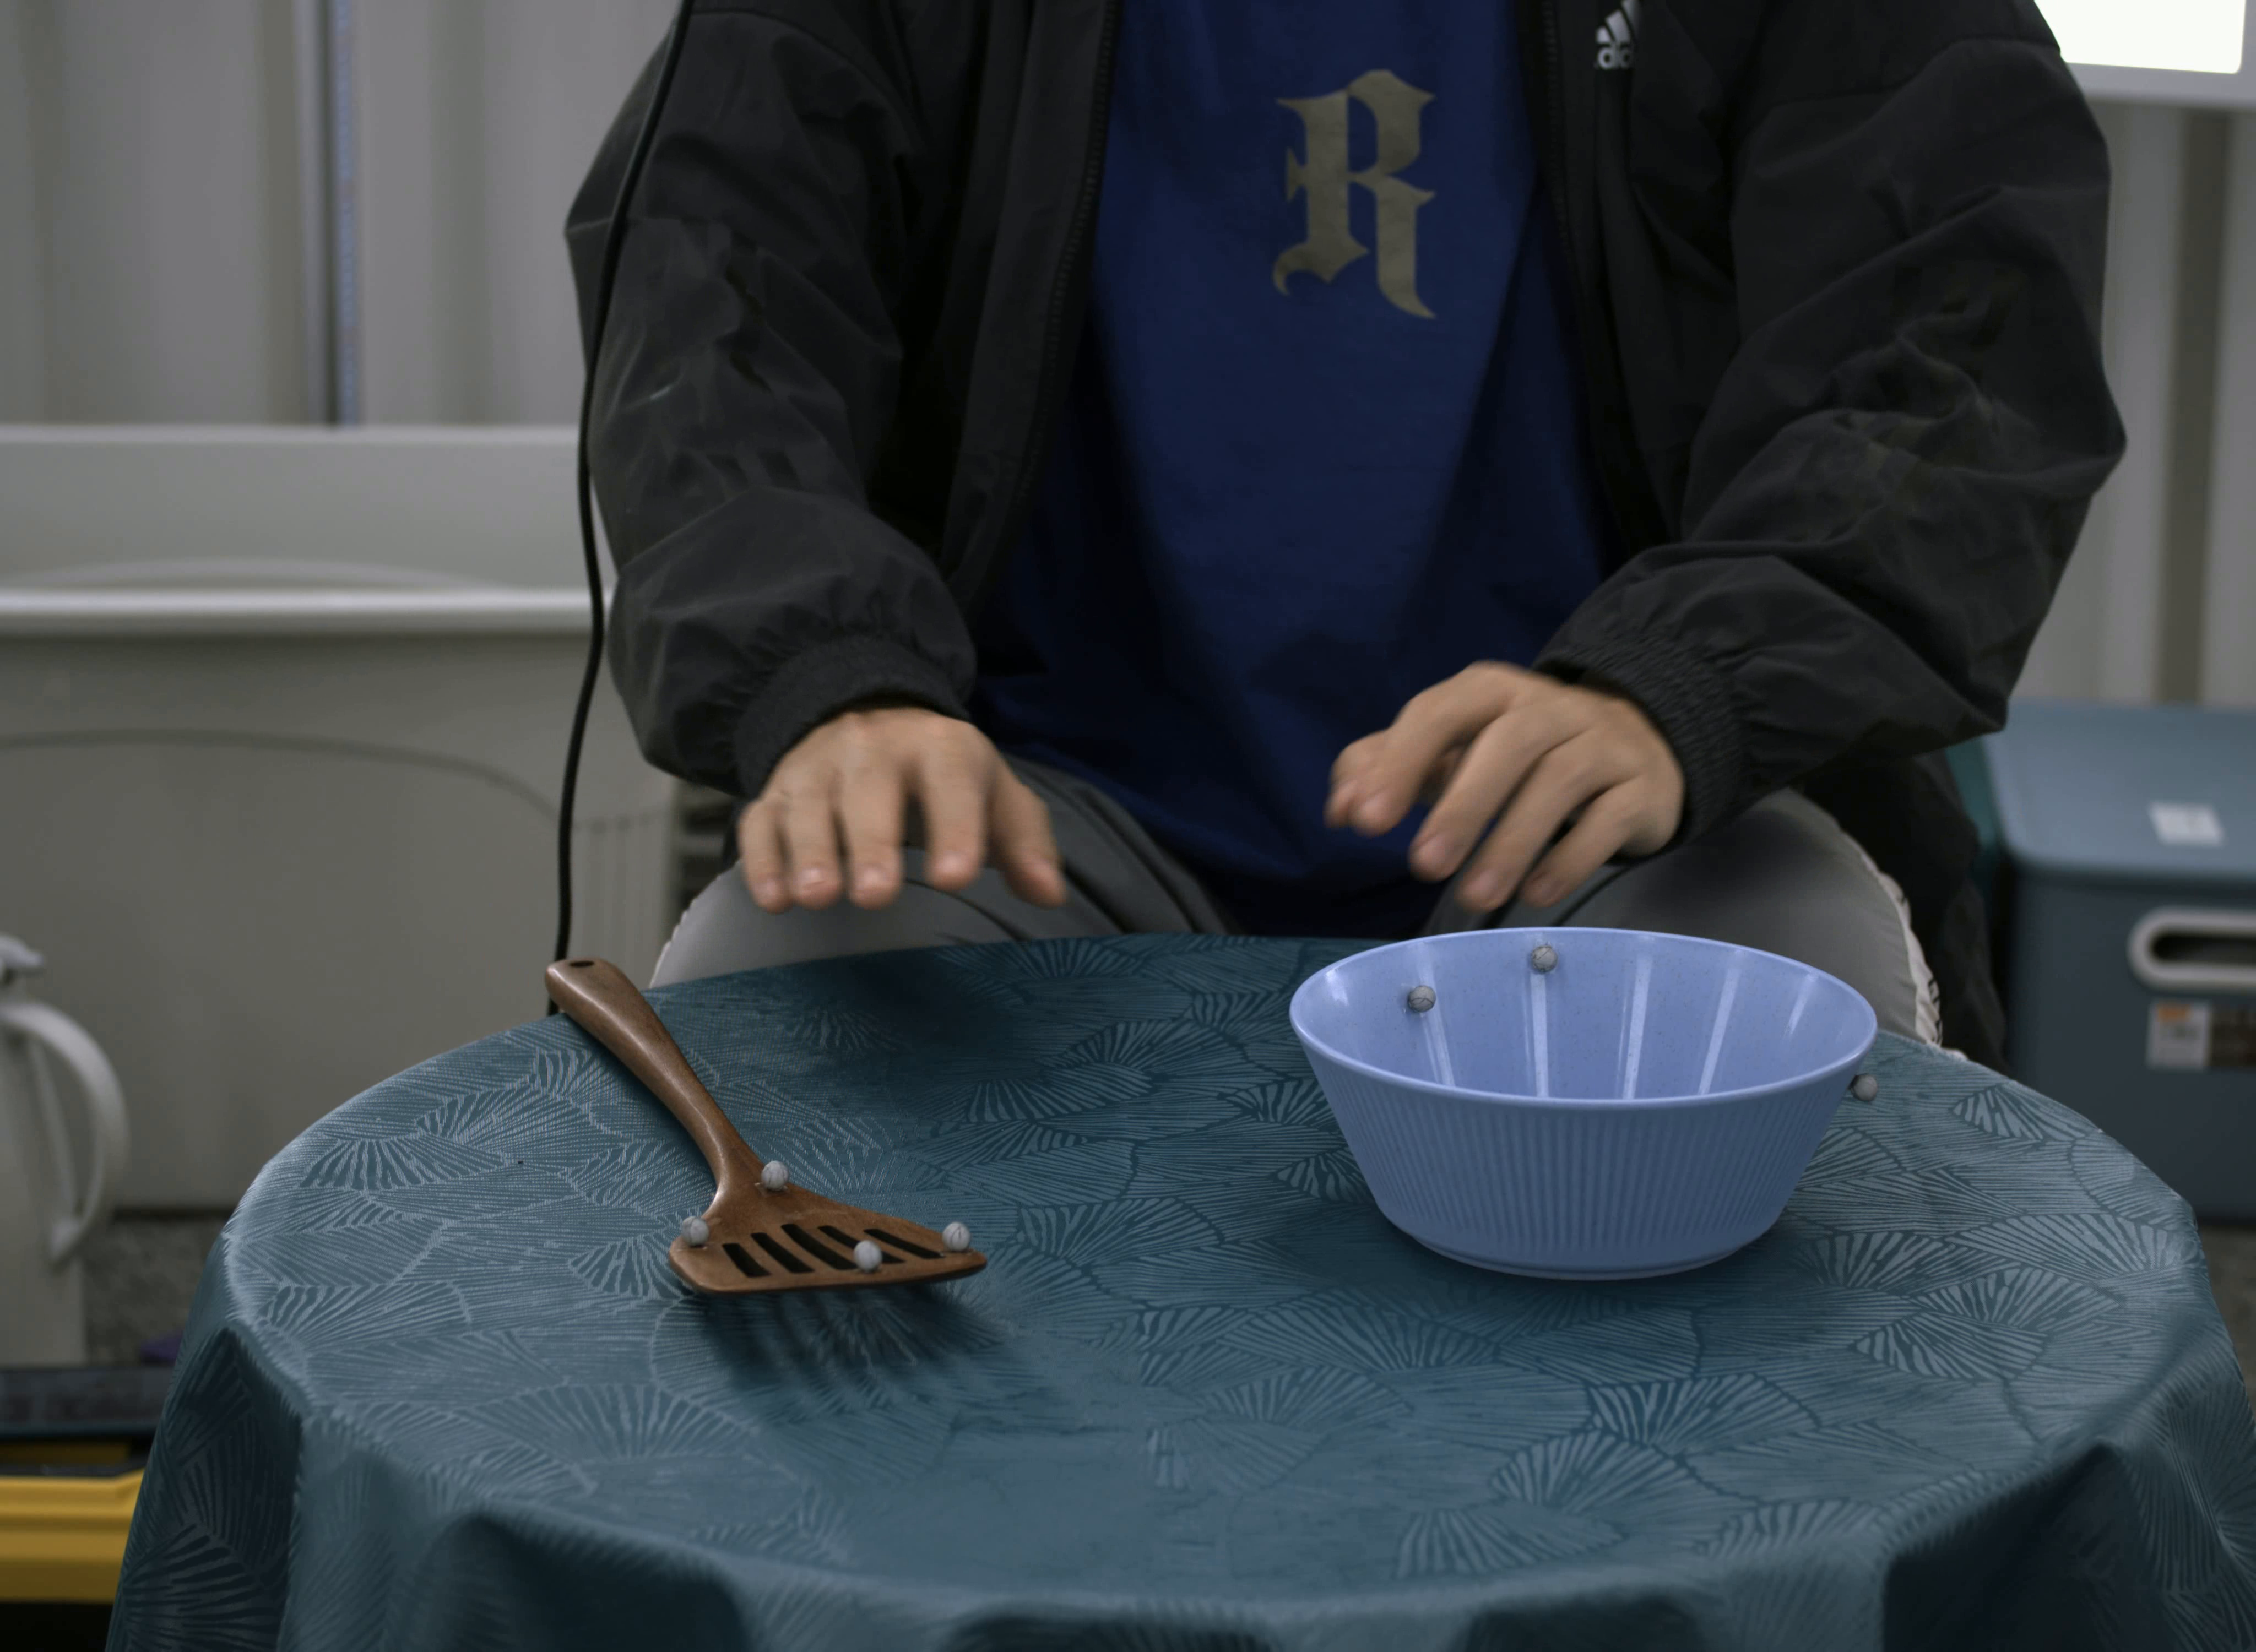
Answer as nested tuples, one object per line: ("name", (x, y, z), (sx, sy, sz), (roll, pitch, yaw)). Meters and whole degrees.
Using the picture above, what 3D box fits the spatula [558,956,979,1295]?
("spatula", (-0.133, 0.094, 1.648), (0.086, 0.024, 0.383), (-4, 14, -17))

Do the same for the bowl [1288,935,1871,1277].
("bowl", (0.135, 0.086, 1.589), (0.175, 0.071, 0.175), (1, 14, 0))
